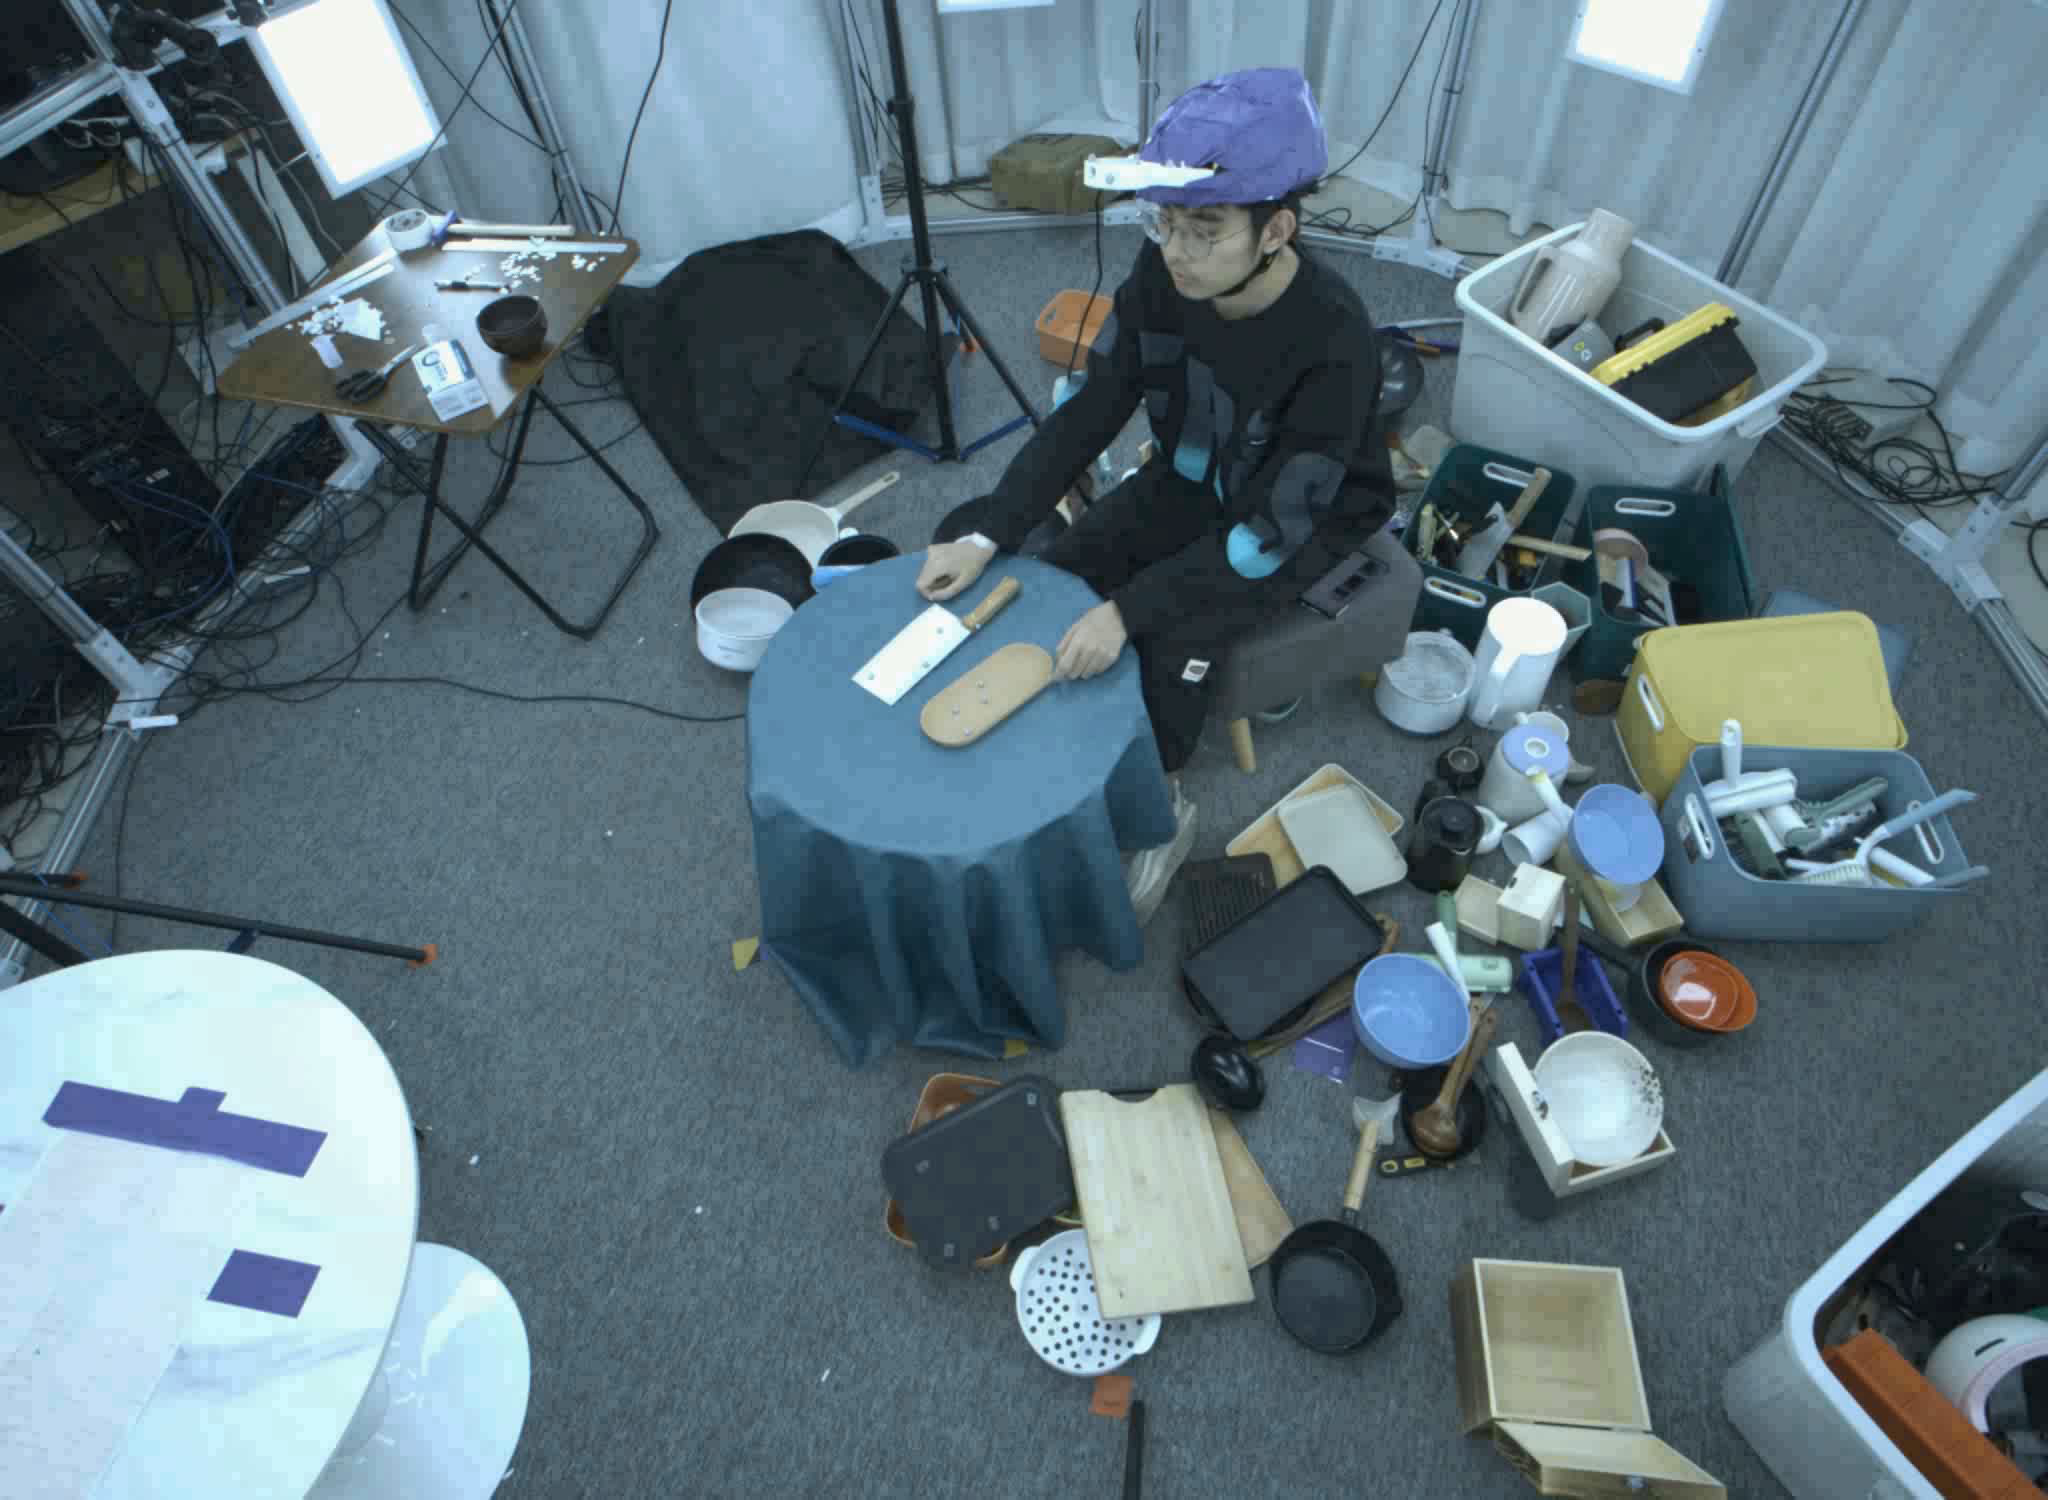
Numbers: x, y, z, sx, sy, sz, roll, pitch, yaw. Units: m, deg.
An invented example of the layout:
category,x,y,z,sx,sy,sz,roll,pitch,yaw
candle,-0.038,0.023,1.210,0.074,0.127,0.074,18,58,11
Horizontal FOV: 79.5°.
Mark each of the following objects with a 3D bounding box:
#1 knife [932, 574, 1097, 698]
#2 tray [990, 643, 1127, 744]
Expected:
category,x,y,z,sx,sy,sz,roll,pitch,yaw
knife,-0.018,-0.192,1.914,0.091,0.021,0.307,38,66,27
tray,0.053,-0.085,1.835,0.233,0.020,0.100,-33,60,-20
